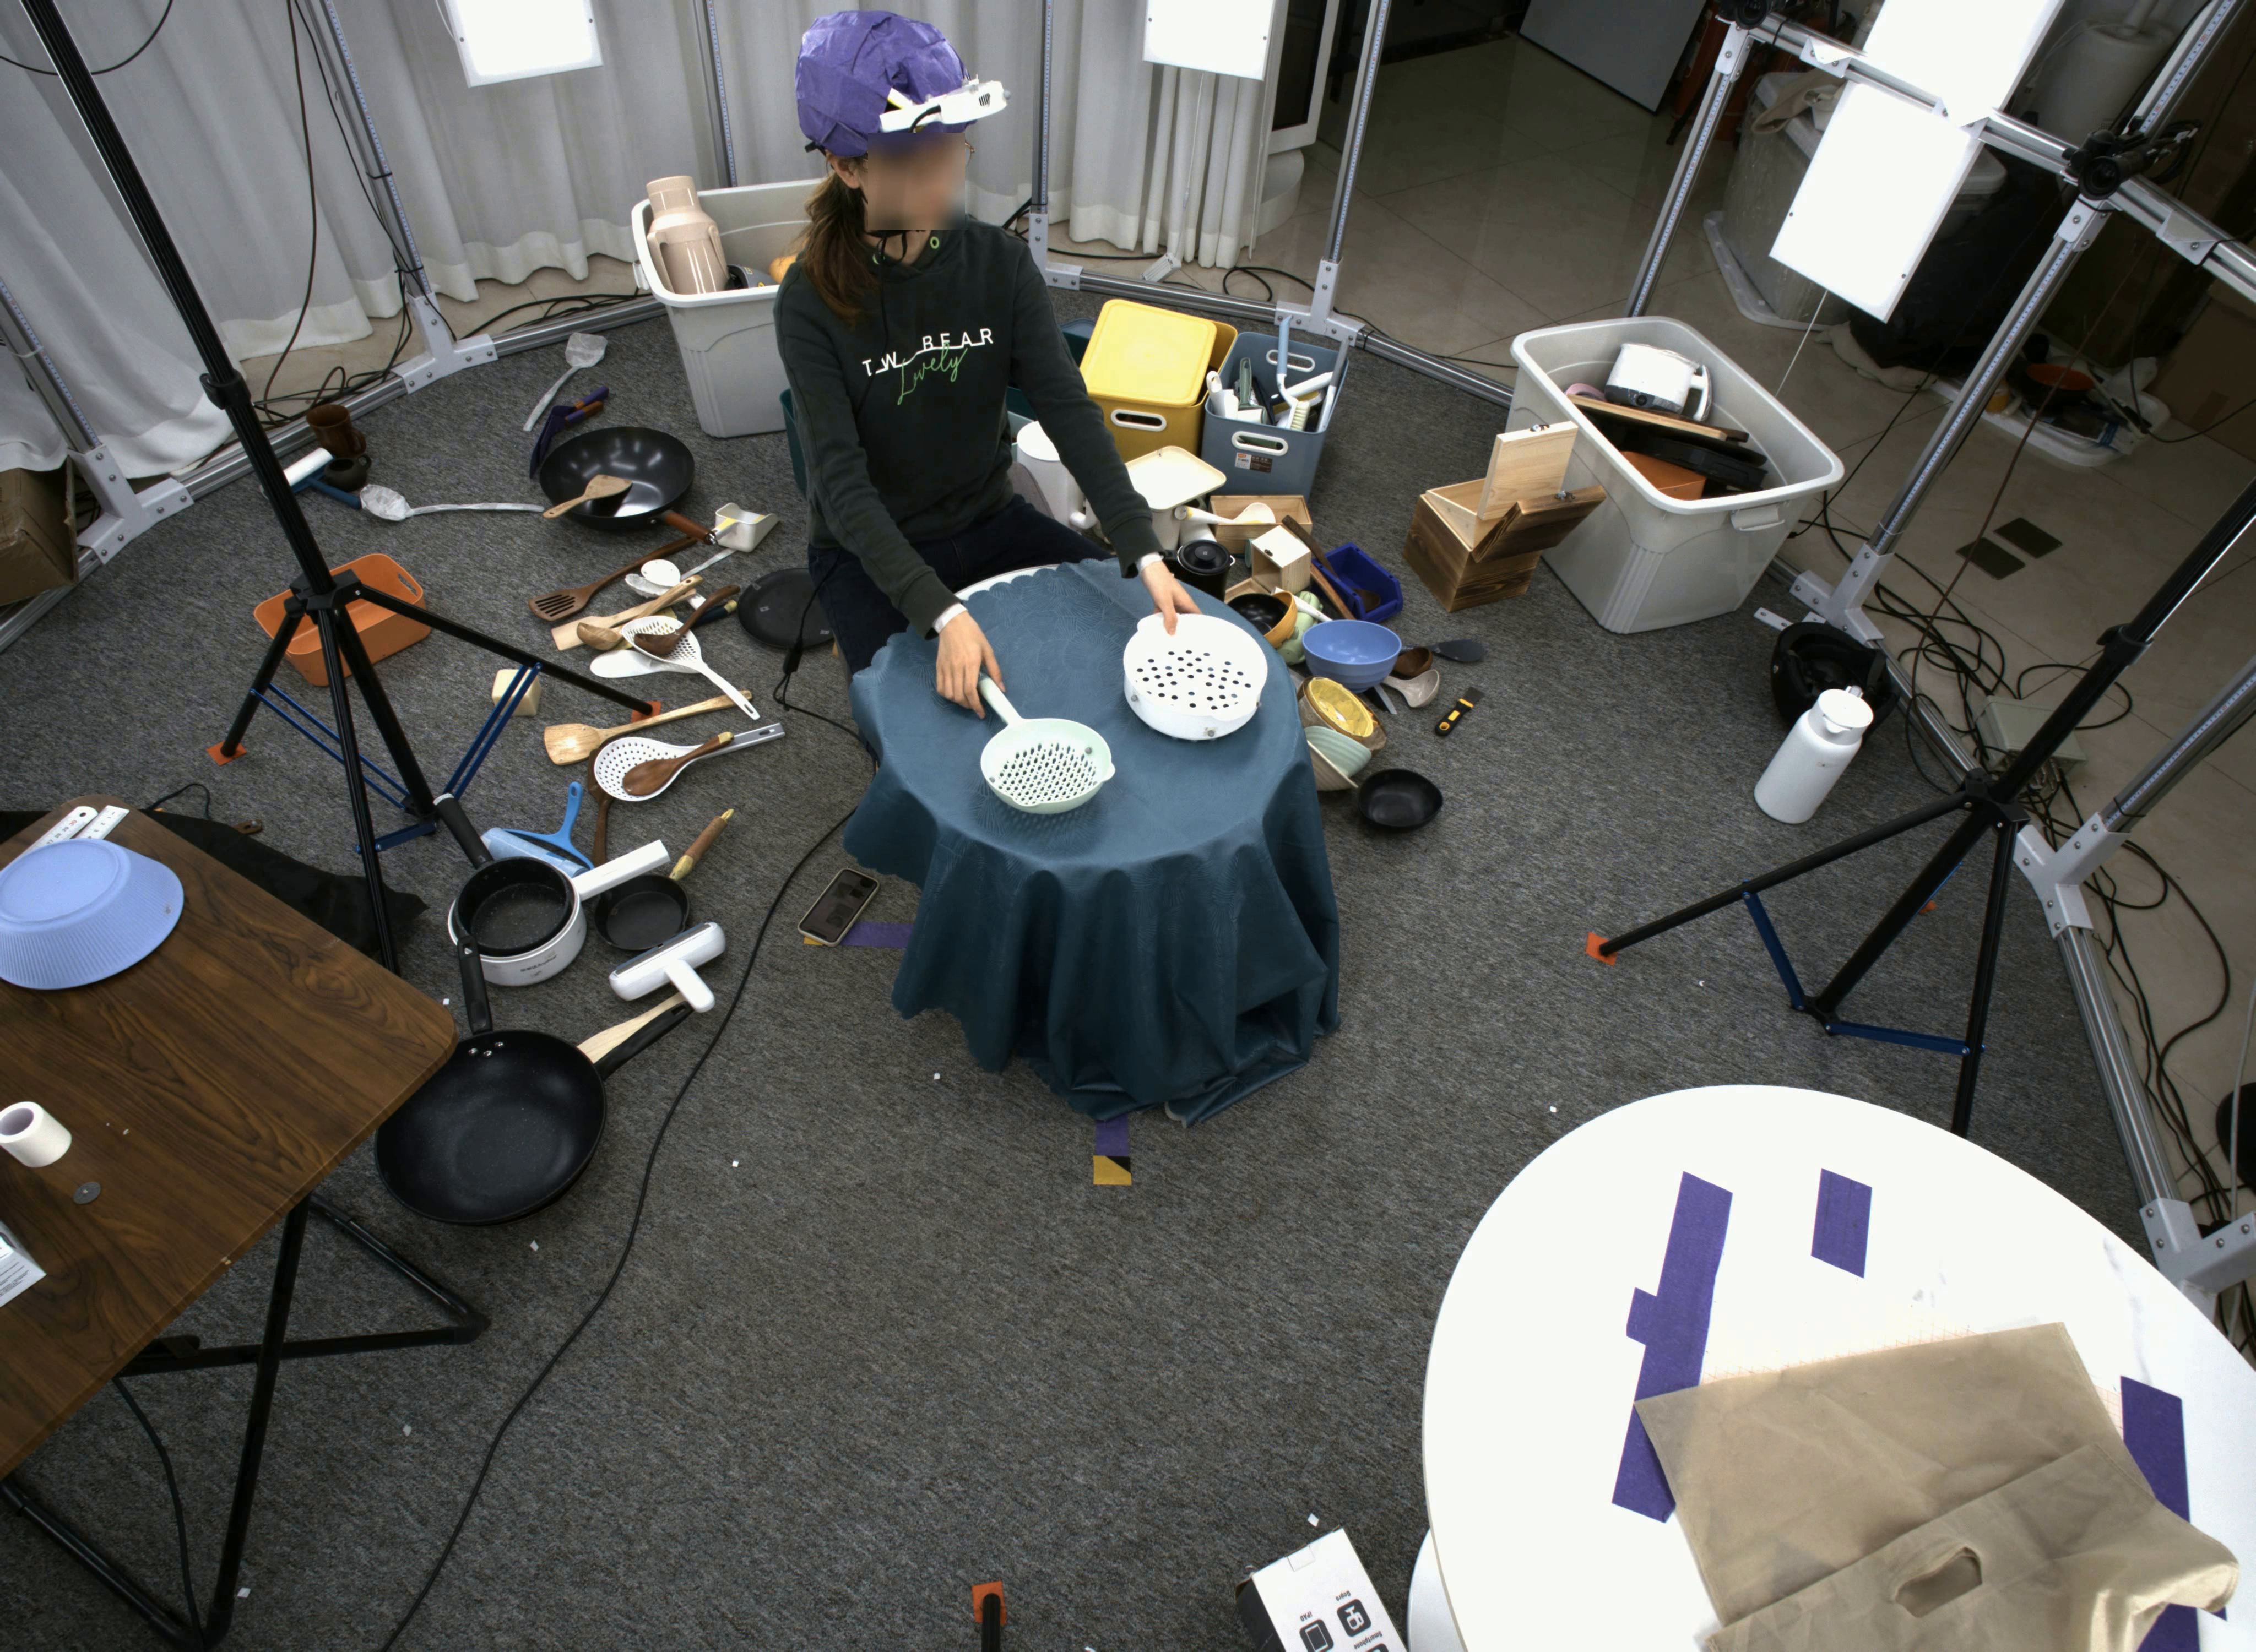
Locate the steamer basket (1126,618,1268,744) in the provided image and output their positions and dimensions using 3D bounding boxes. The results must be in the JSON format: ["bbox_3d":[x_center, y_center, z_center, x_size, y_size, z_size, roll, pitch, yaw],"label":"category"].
[{"bbox_3d":[0.096,-0.204,1.827,0.202,0.067,0.235,-23,53,-23],"label":"steamer basket"}]

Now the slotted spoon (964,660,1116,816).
[{"bbox_3d":[-0.151,-0.136,1.750,0.169,0.073,0.367,-19,53,-20],"label":"slotted spoon"}]
